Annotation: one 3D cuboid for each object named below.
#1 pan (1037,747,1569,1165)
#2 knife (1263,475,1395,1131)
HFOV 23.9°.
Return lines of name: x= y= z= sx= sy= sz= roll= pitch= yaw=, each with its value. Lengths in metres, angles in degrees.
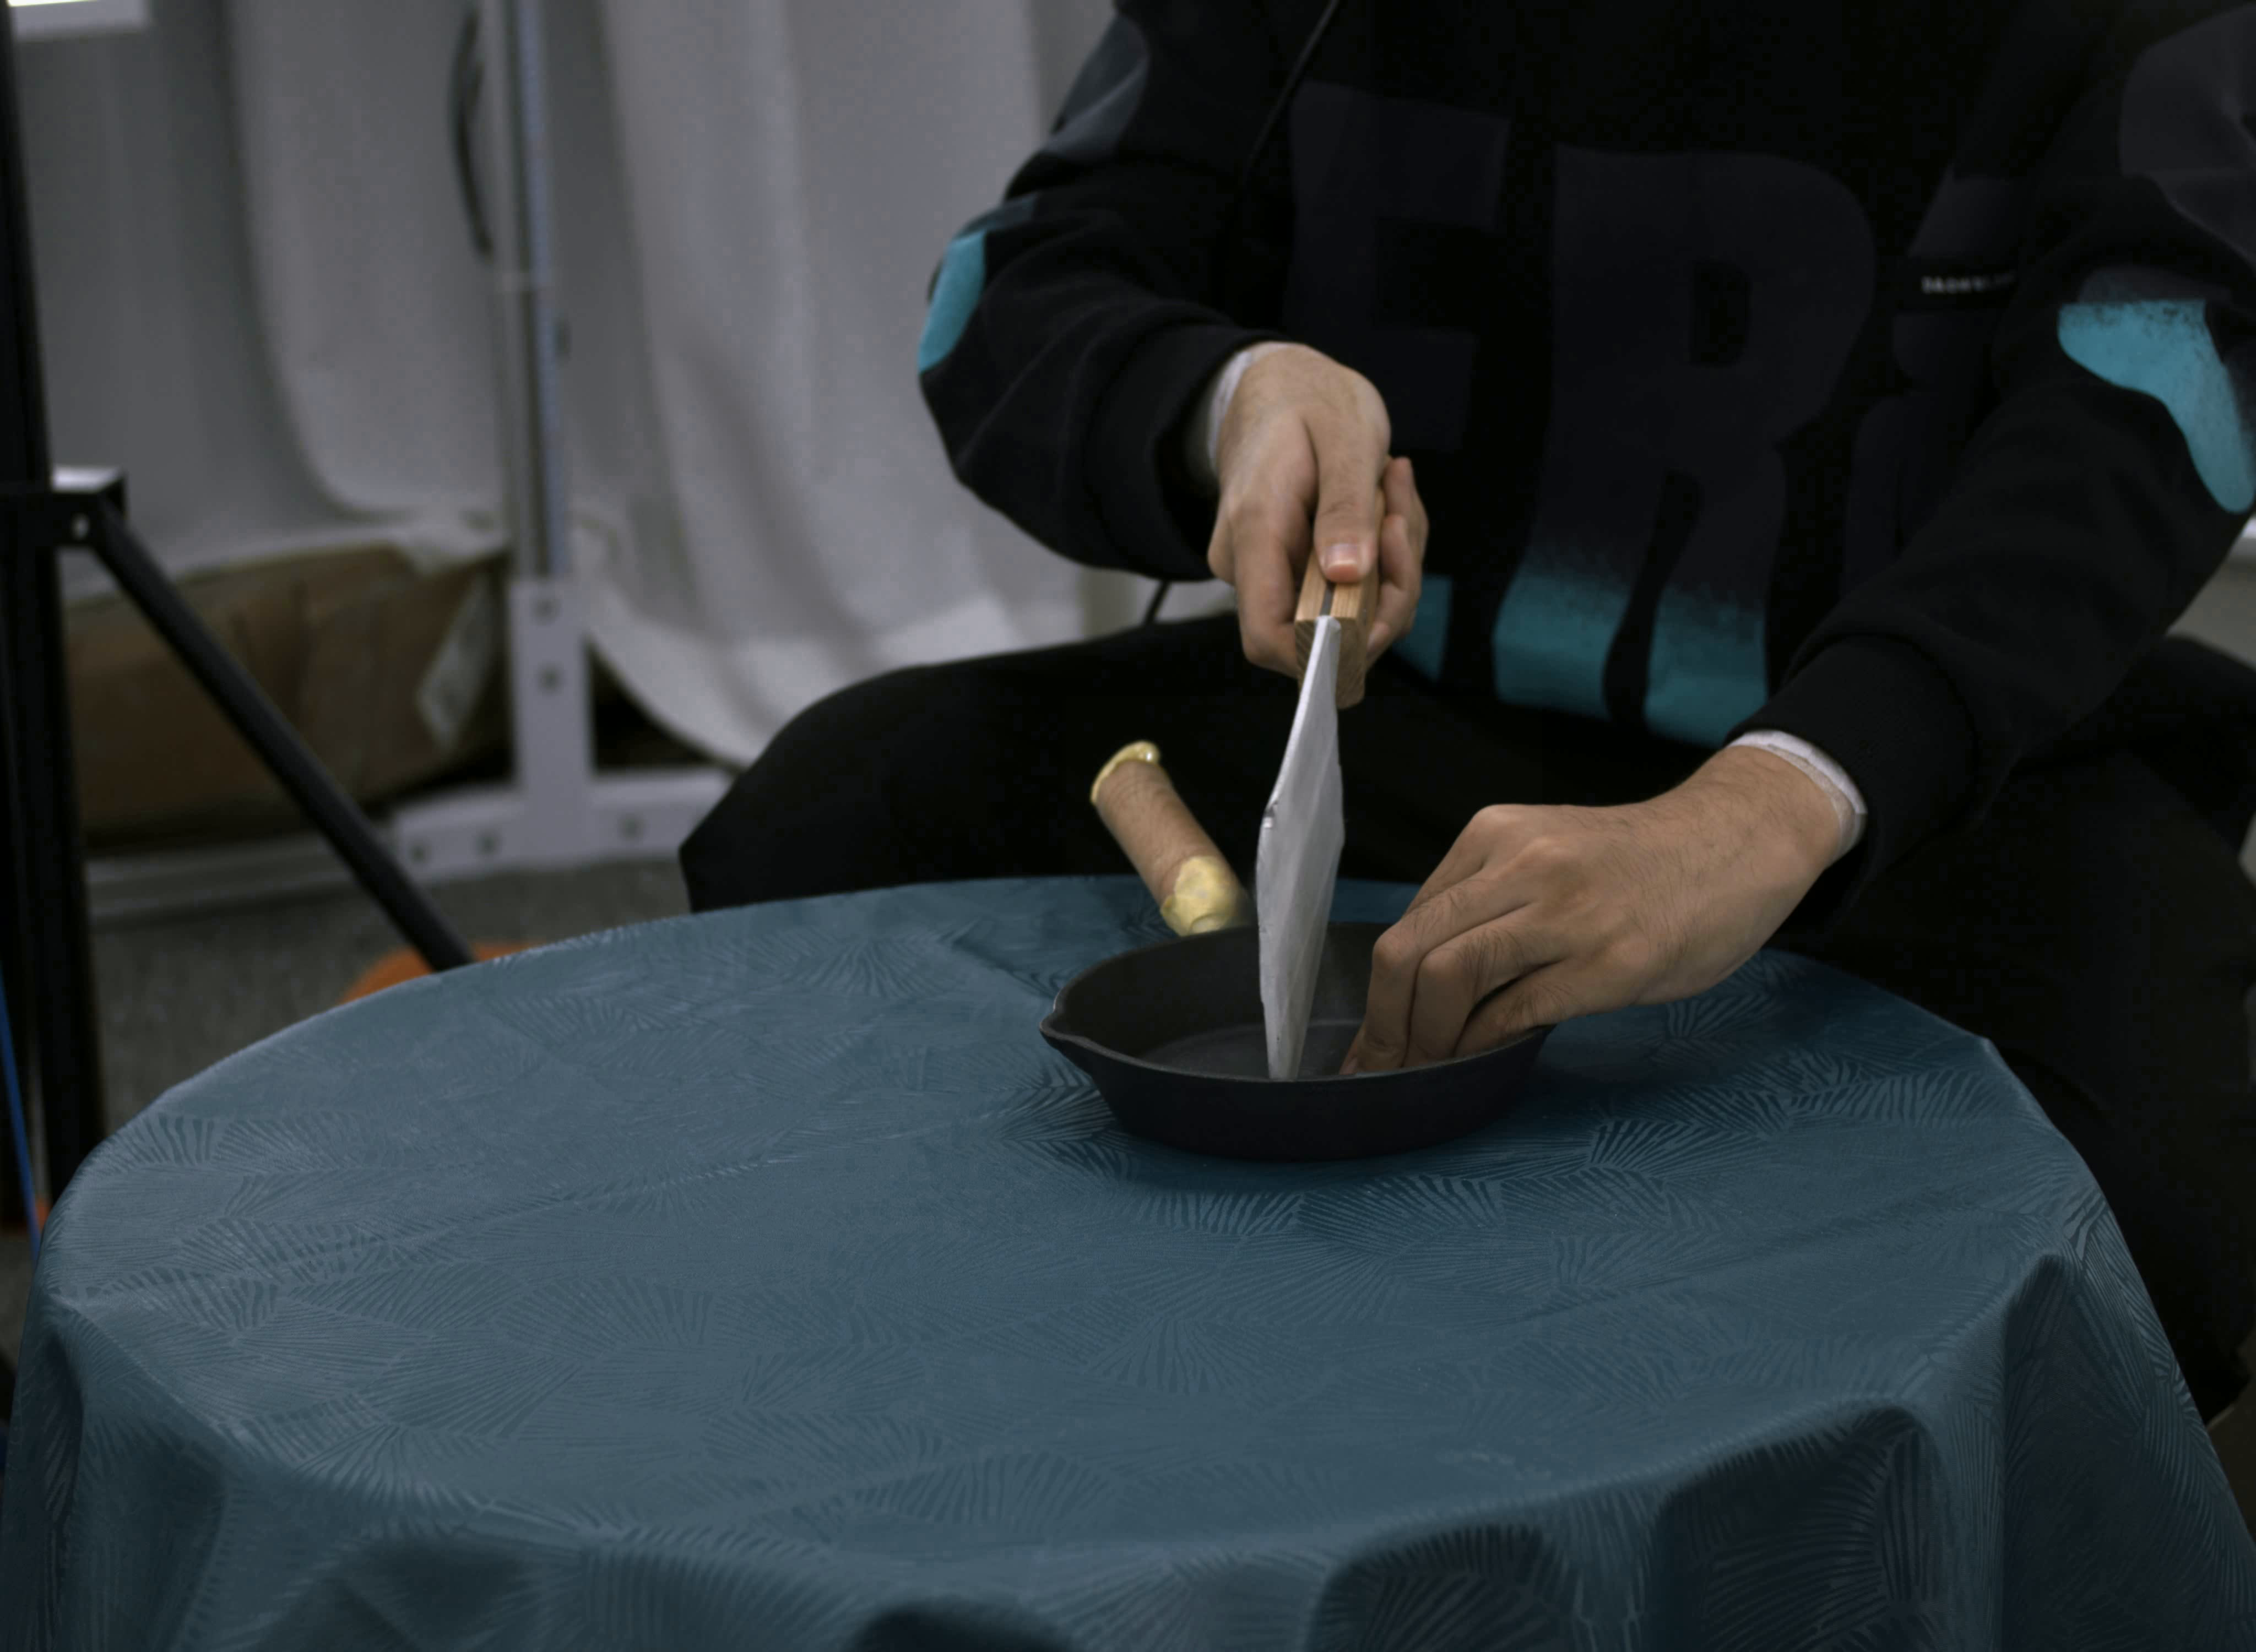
pan: x=0.035 y=0.038 z=1.707 sx=0.166 sy=0.049 sz=0.328 roll=-6 pitch=17 yaw=-12
knife: x=0.062 y=-0.025 z=1.686 sx=0.022 sy=0.113 sz=0.316 roll=1 pitch=33 yaw=8
